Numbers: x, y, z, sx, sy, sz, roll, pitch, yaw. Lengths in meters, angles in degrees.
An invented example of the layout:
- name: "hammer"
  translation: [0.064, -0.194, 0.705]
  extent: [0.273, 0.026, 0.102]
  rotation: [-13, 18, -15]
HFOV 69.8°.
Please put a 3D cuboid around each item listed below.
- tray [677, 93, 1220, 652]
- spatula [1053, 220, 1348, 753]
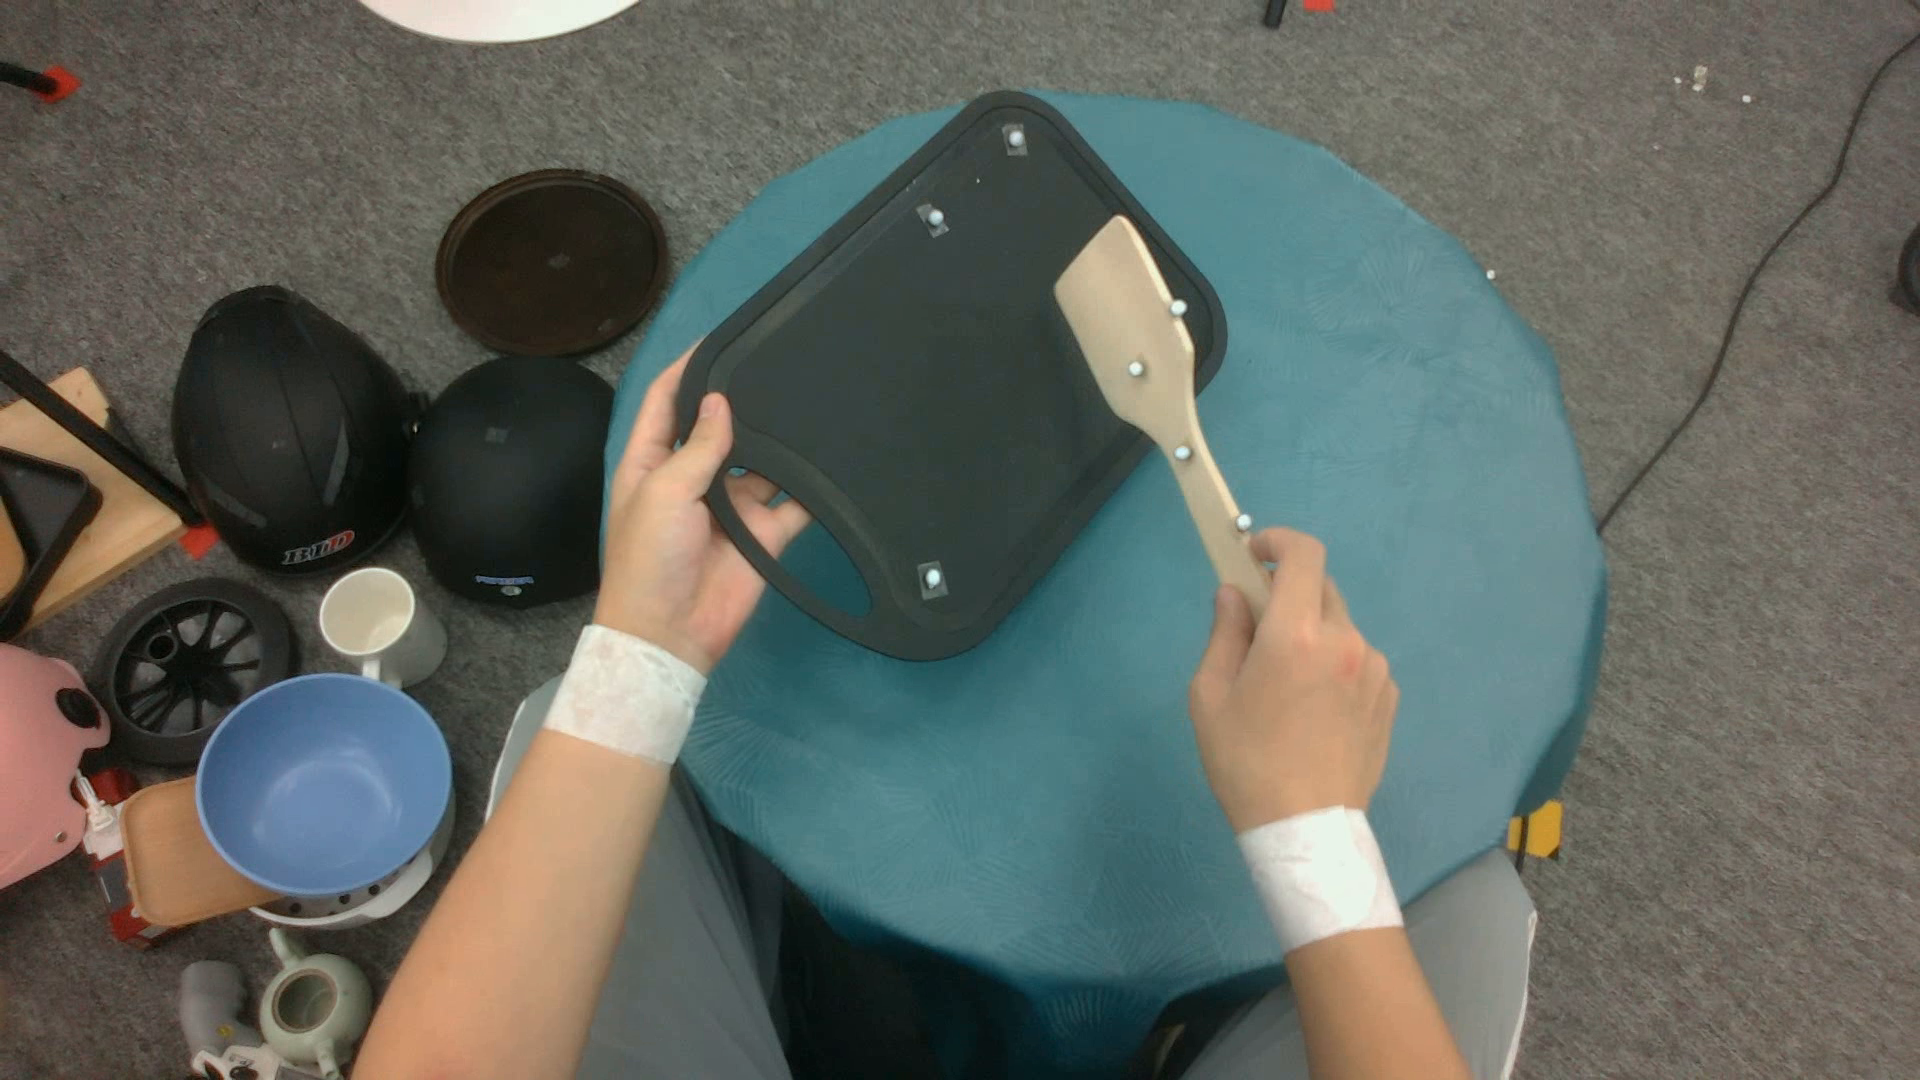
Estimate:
- name: "tray"
  translation: [0.004, -0.095, 0.754]
  extent: [0.211, 0.010, 0.327]
  rotation: [46, 65, -7]
- name: "spatula"
  translation: [0.125, -0.028, 0.705]
  extent: [0.011, 0.072, 0.293]
  rotation: [-13, 71, -33]
